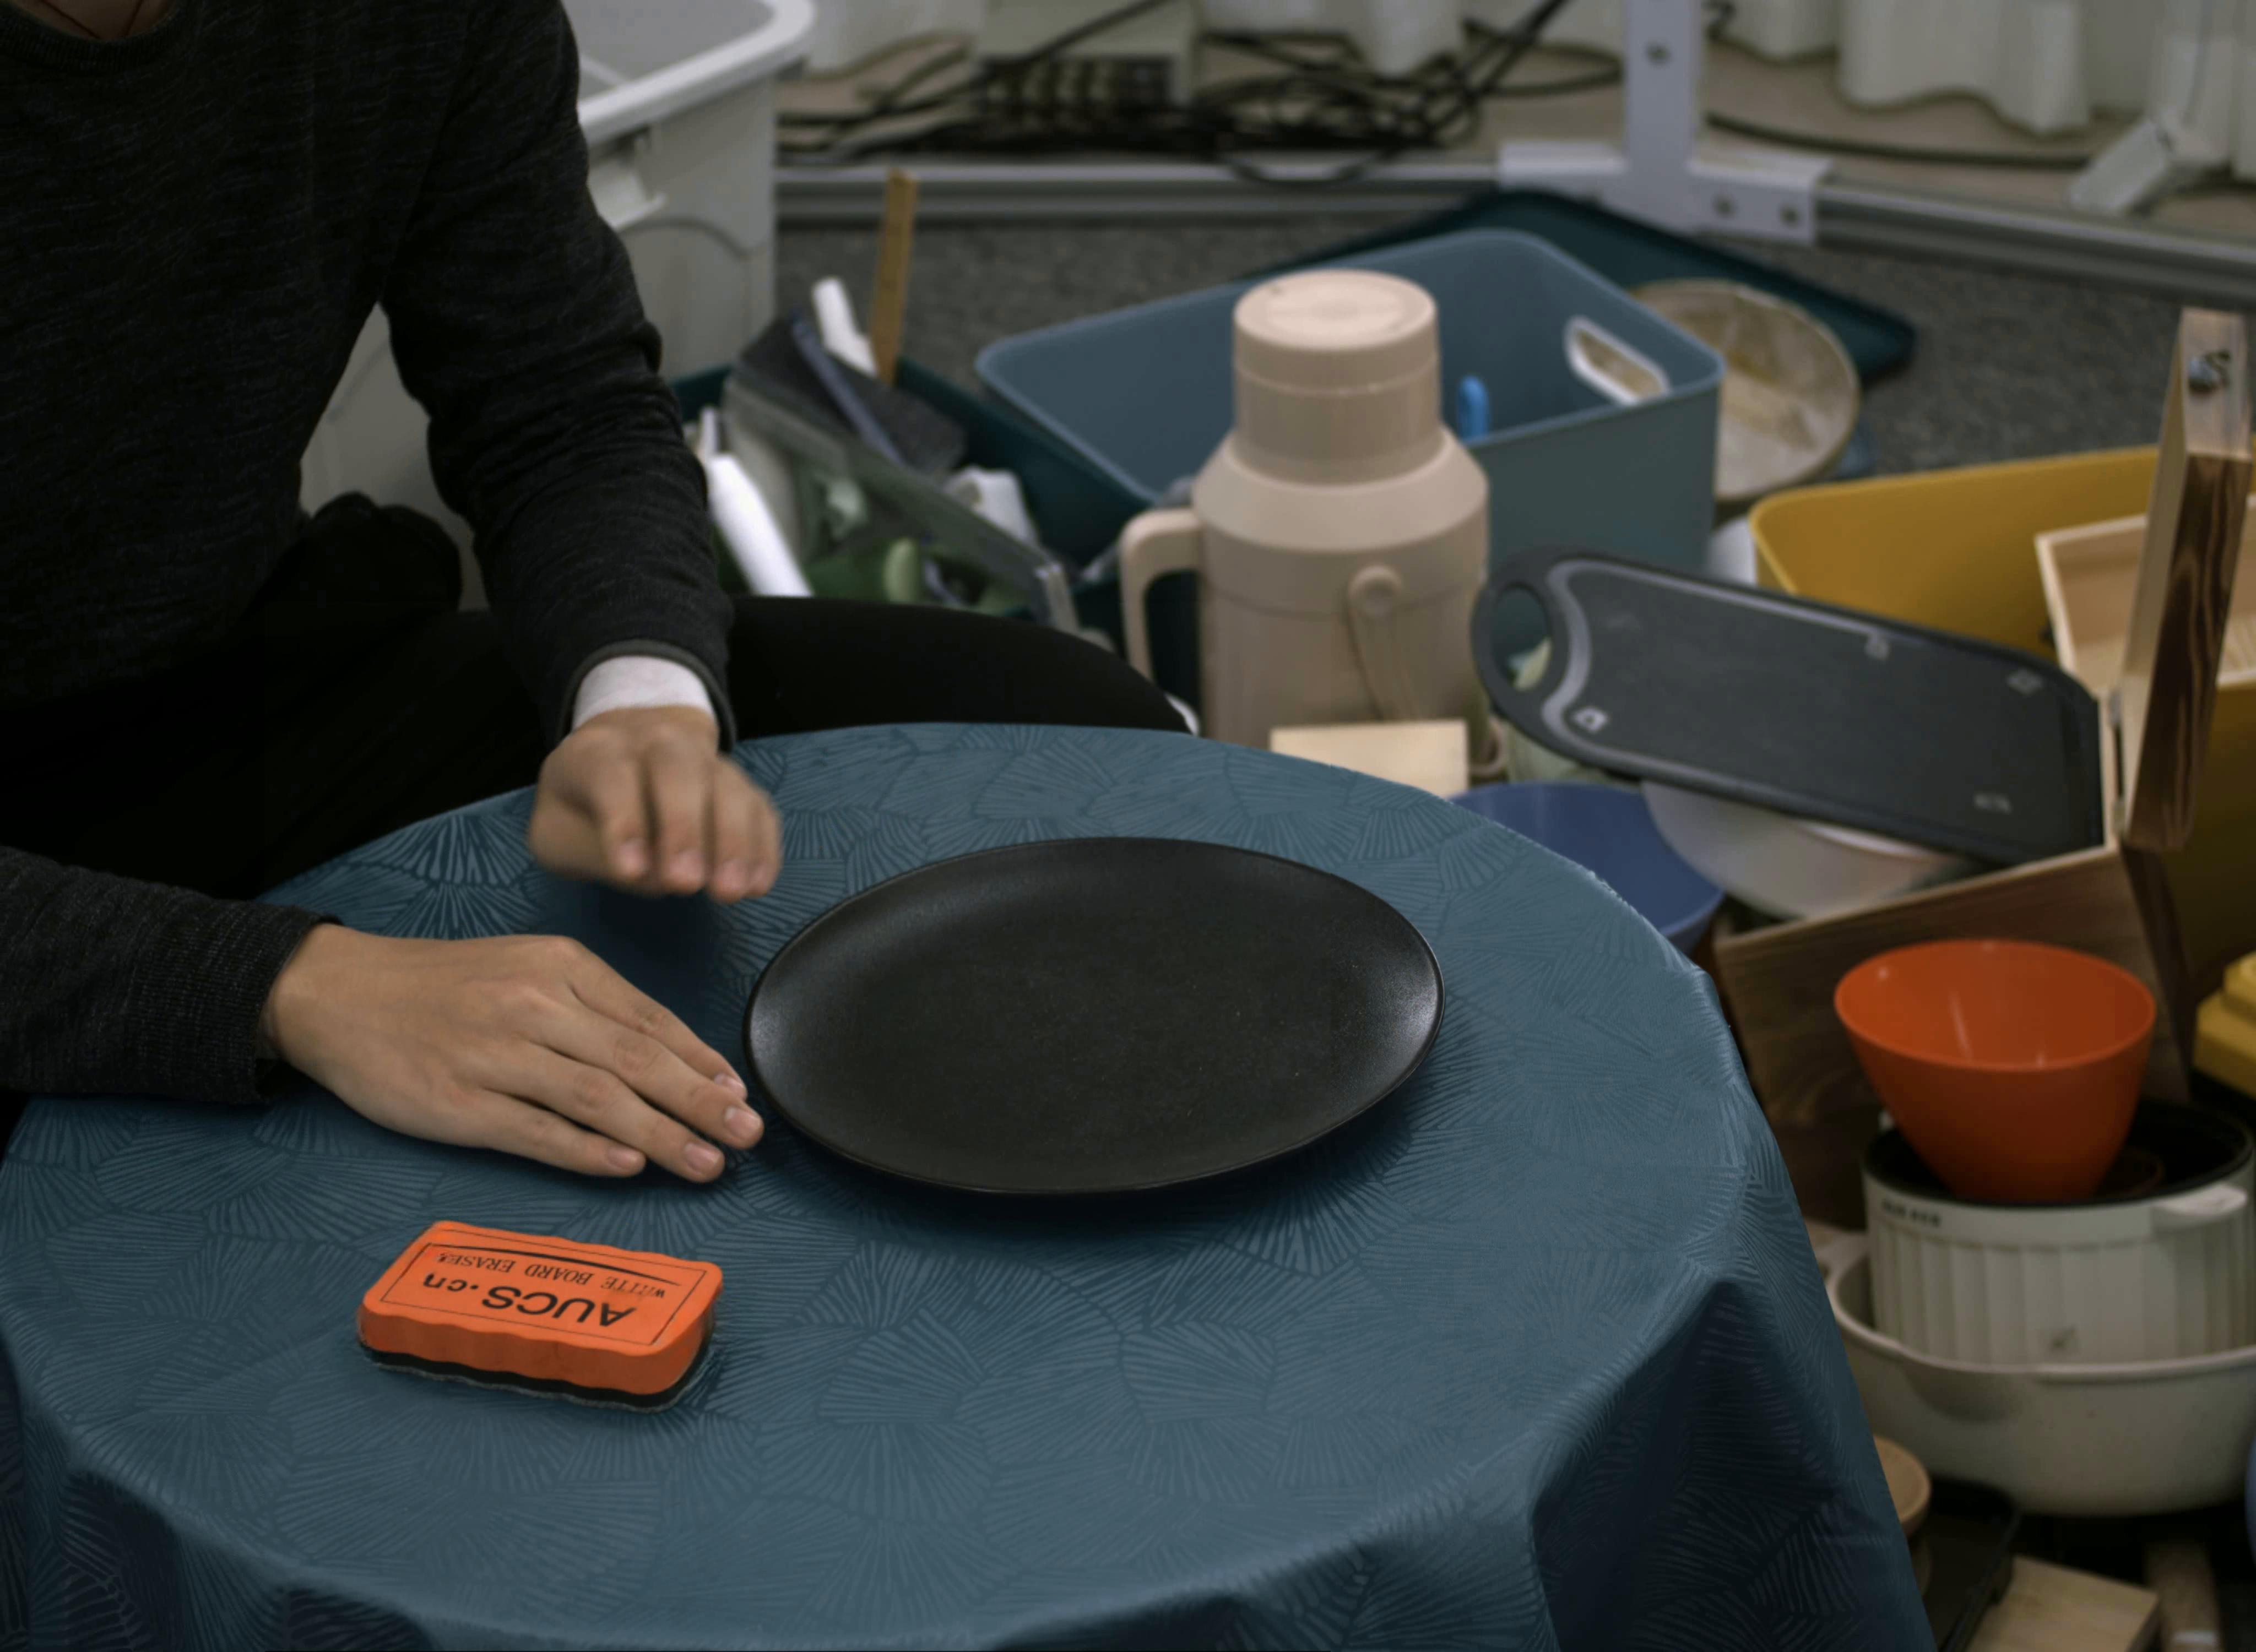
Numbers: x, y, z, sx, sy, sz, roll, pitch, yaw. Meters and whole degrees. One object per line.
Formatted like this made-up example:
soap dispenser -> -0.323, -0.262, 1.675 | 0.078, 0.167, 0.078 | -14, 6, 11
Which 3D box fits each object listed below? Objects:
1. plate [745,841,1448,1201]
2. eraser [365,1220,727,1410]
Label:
plate -> -0.010, 0.071, 1.936 | 0.243, 0.023, 0.248 | -3, 27, 2
eraser -> -0.185, 0.156, 1.788 | 0.107, 0.022, 0.060 | 8, 27, 20
